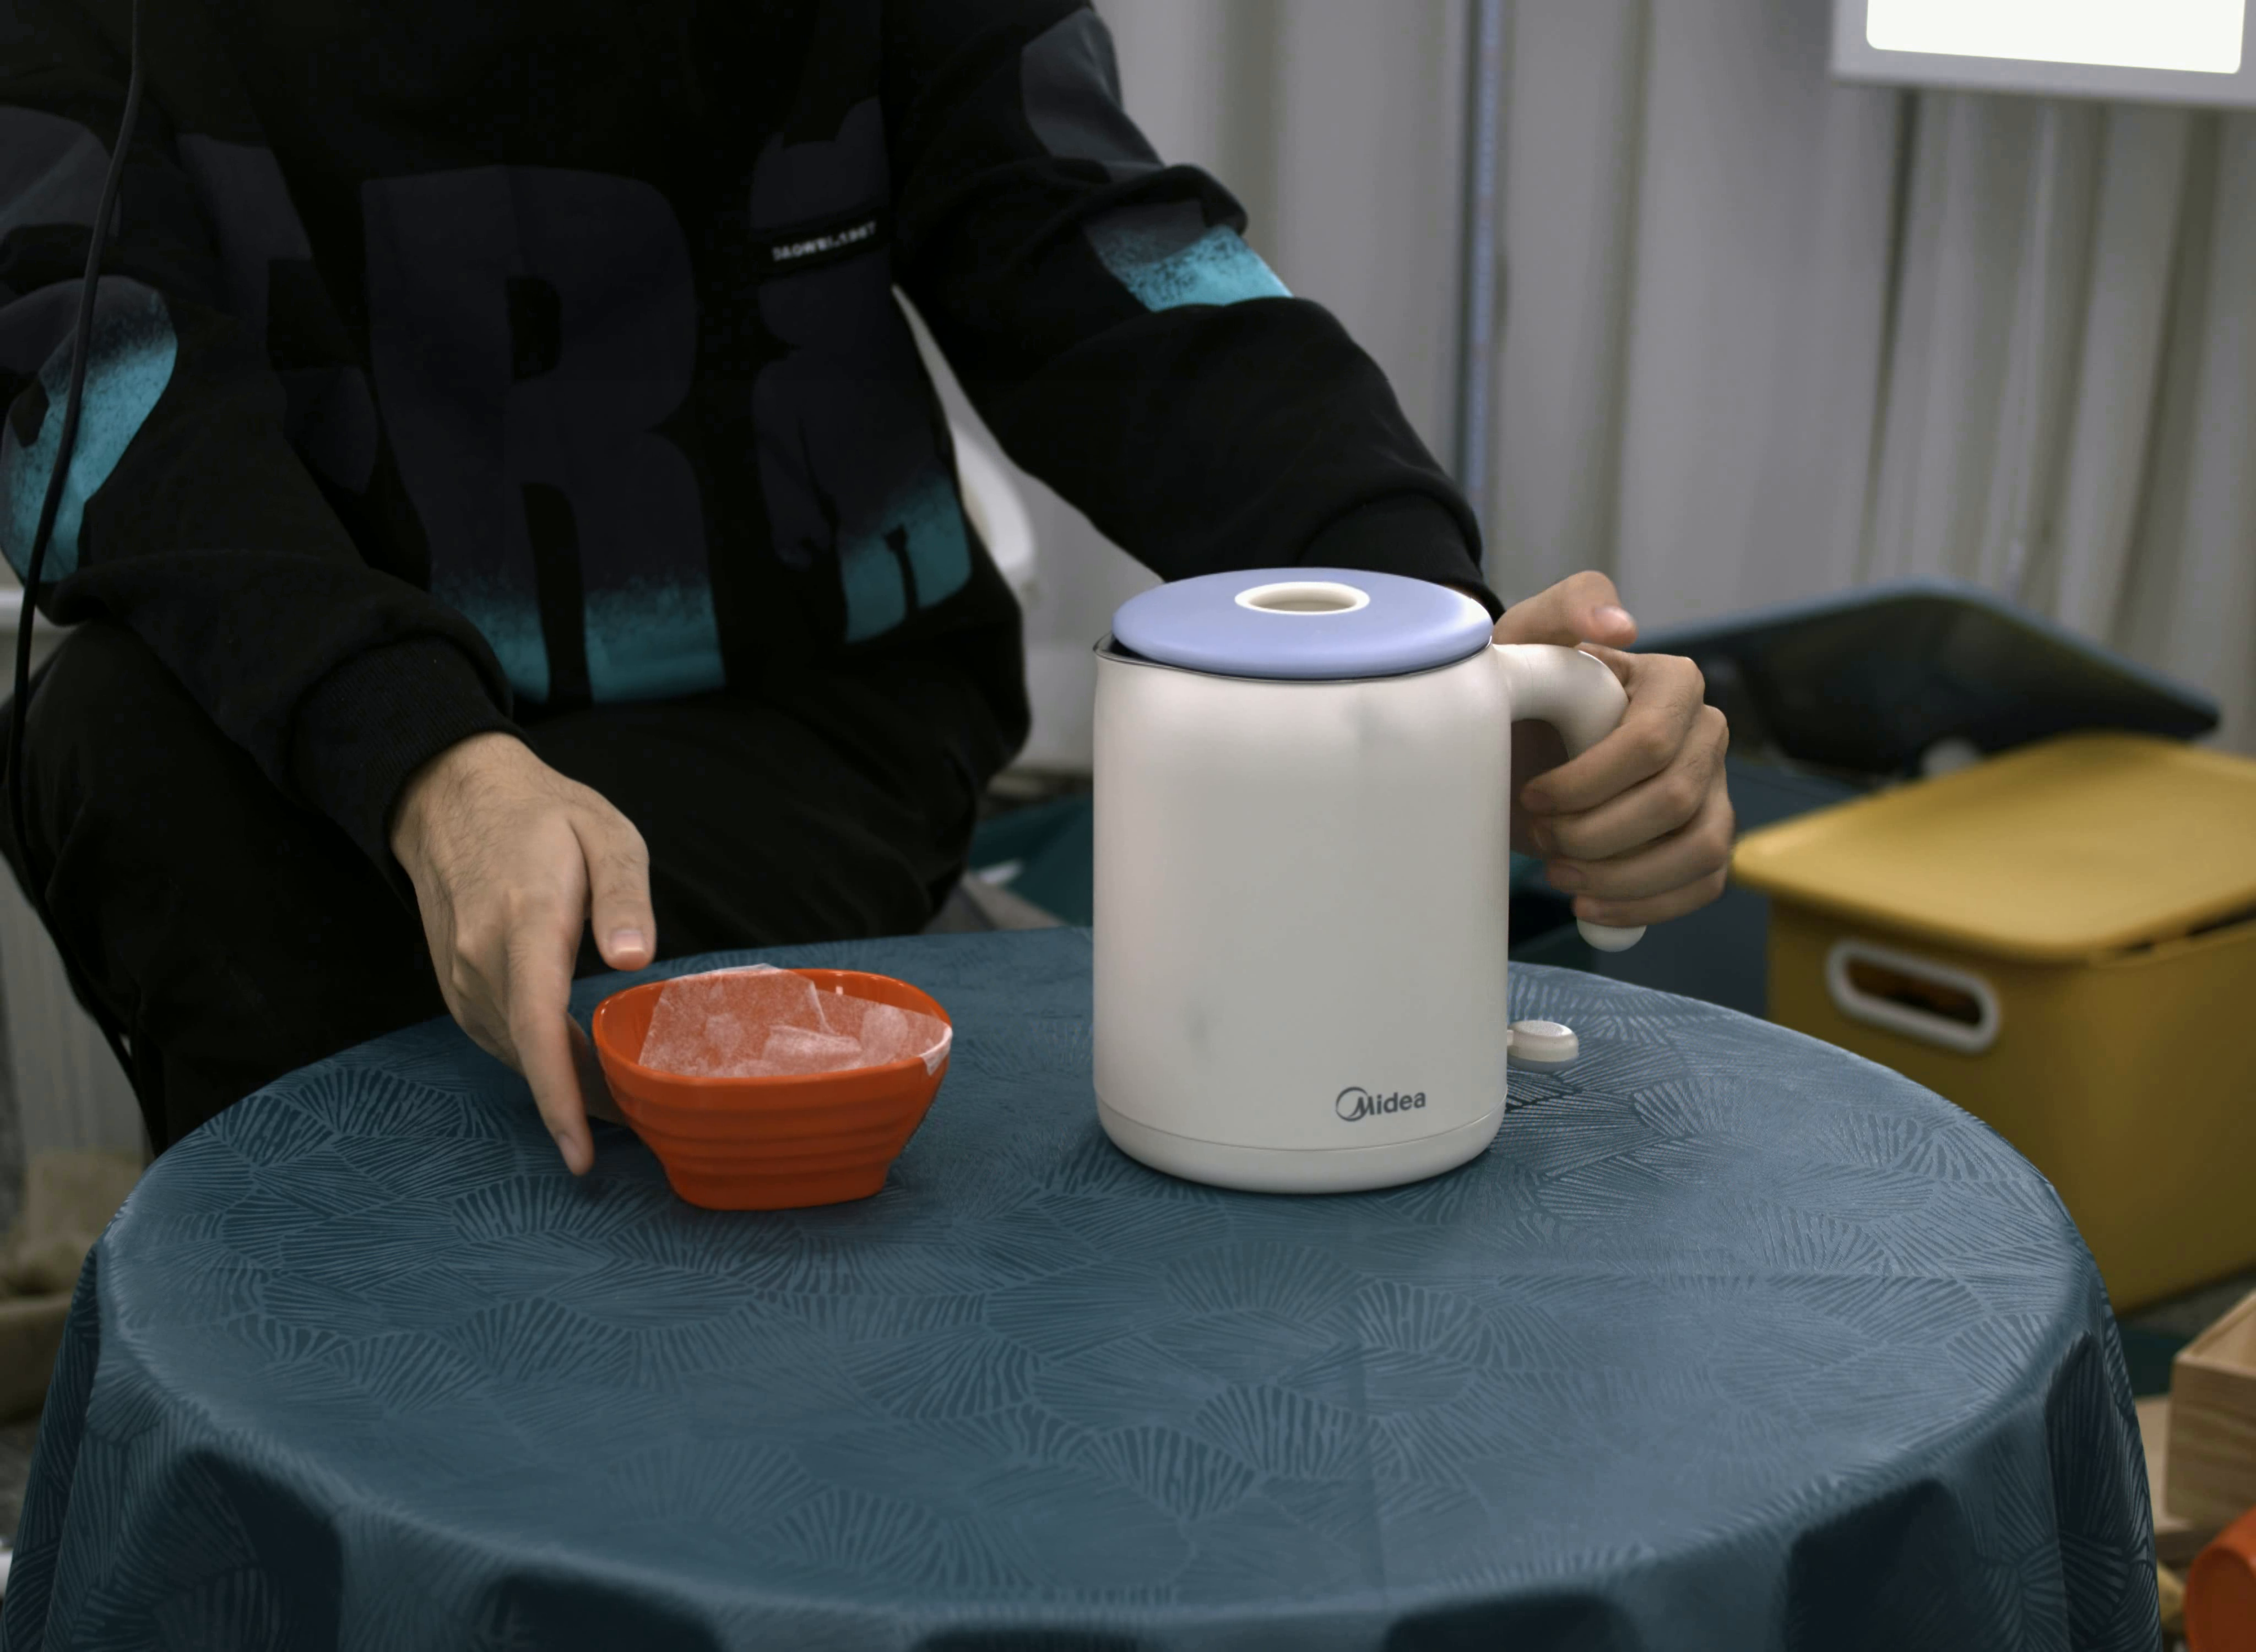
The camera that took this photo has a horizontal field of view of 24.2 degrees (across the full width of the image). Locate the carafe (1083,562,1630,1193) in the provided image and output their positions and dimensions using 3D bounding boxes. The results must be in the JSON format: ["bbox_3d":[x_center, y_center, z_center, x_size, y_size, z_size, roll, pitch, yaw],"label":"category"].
[{"bbox_3d":[0.075,0.013,1.659,0.192,0.184,0.130,-4,18,-23],"label":"carafe"}]

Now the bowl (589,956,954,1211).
[{"bbox_3d":[-0.109,0.082,1.624,0.118,0.052,0.118,-1,18,1],"label":"bowl"}]
